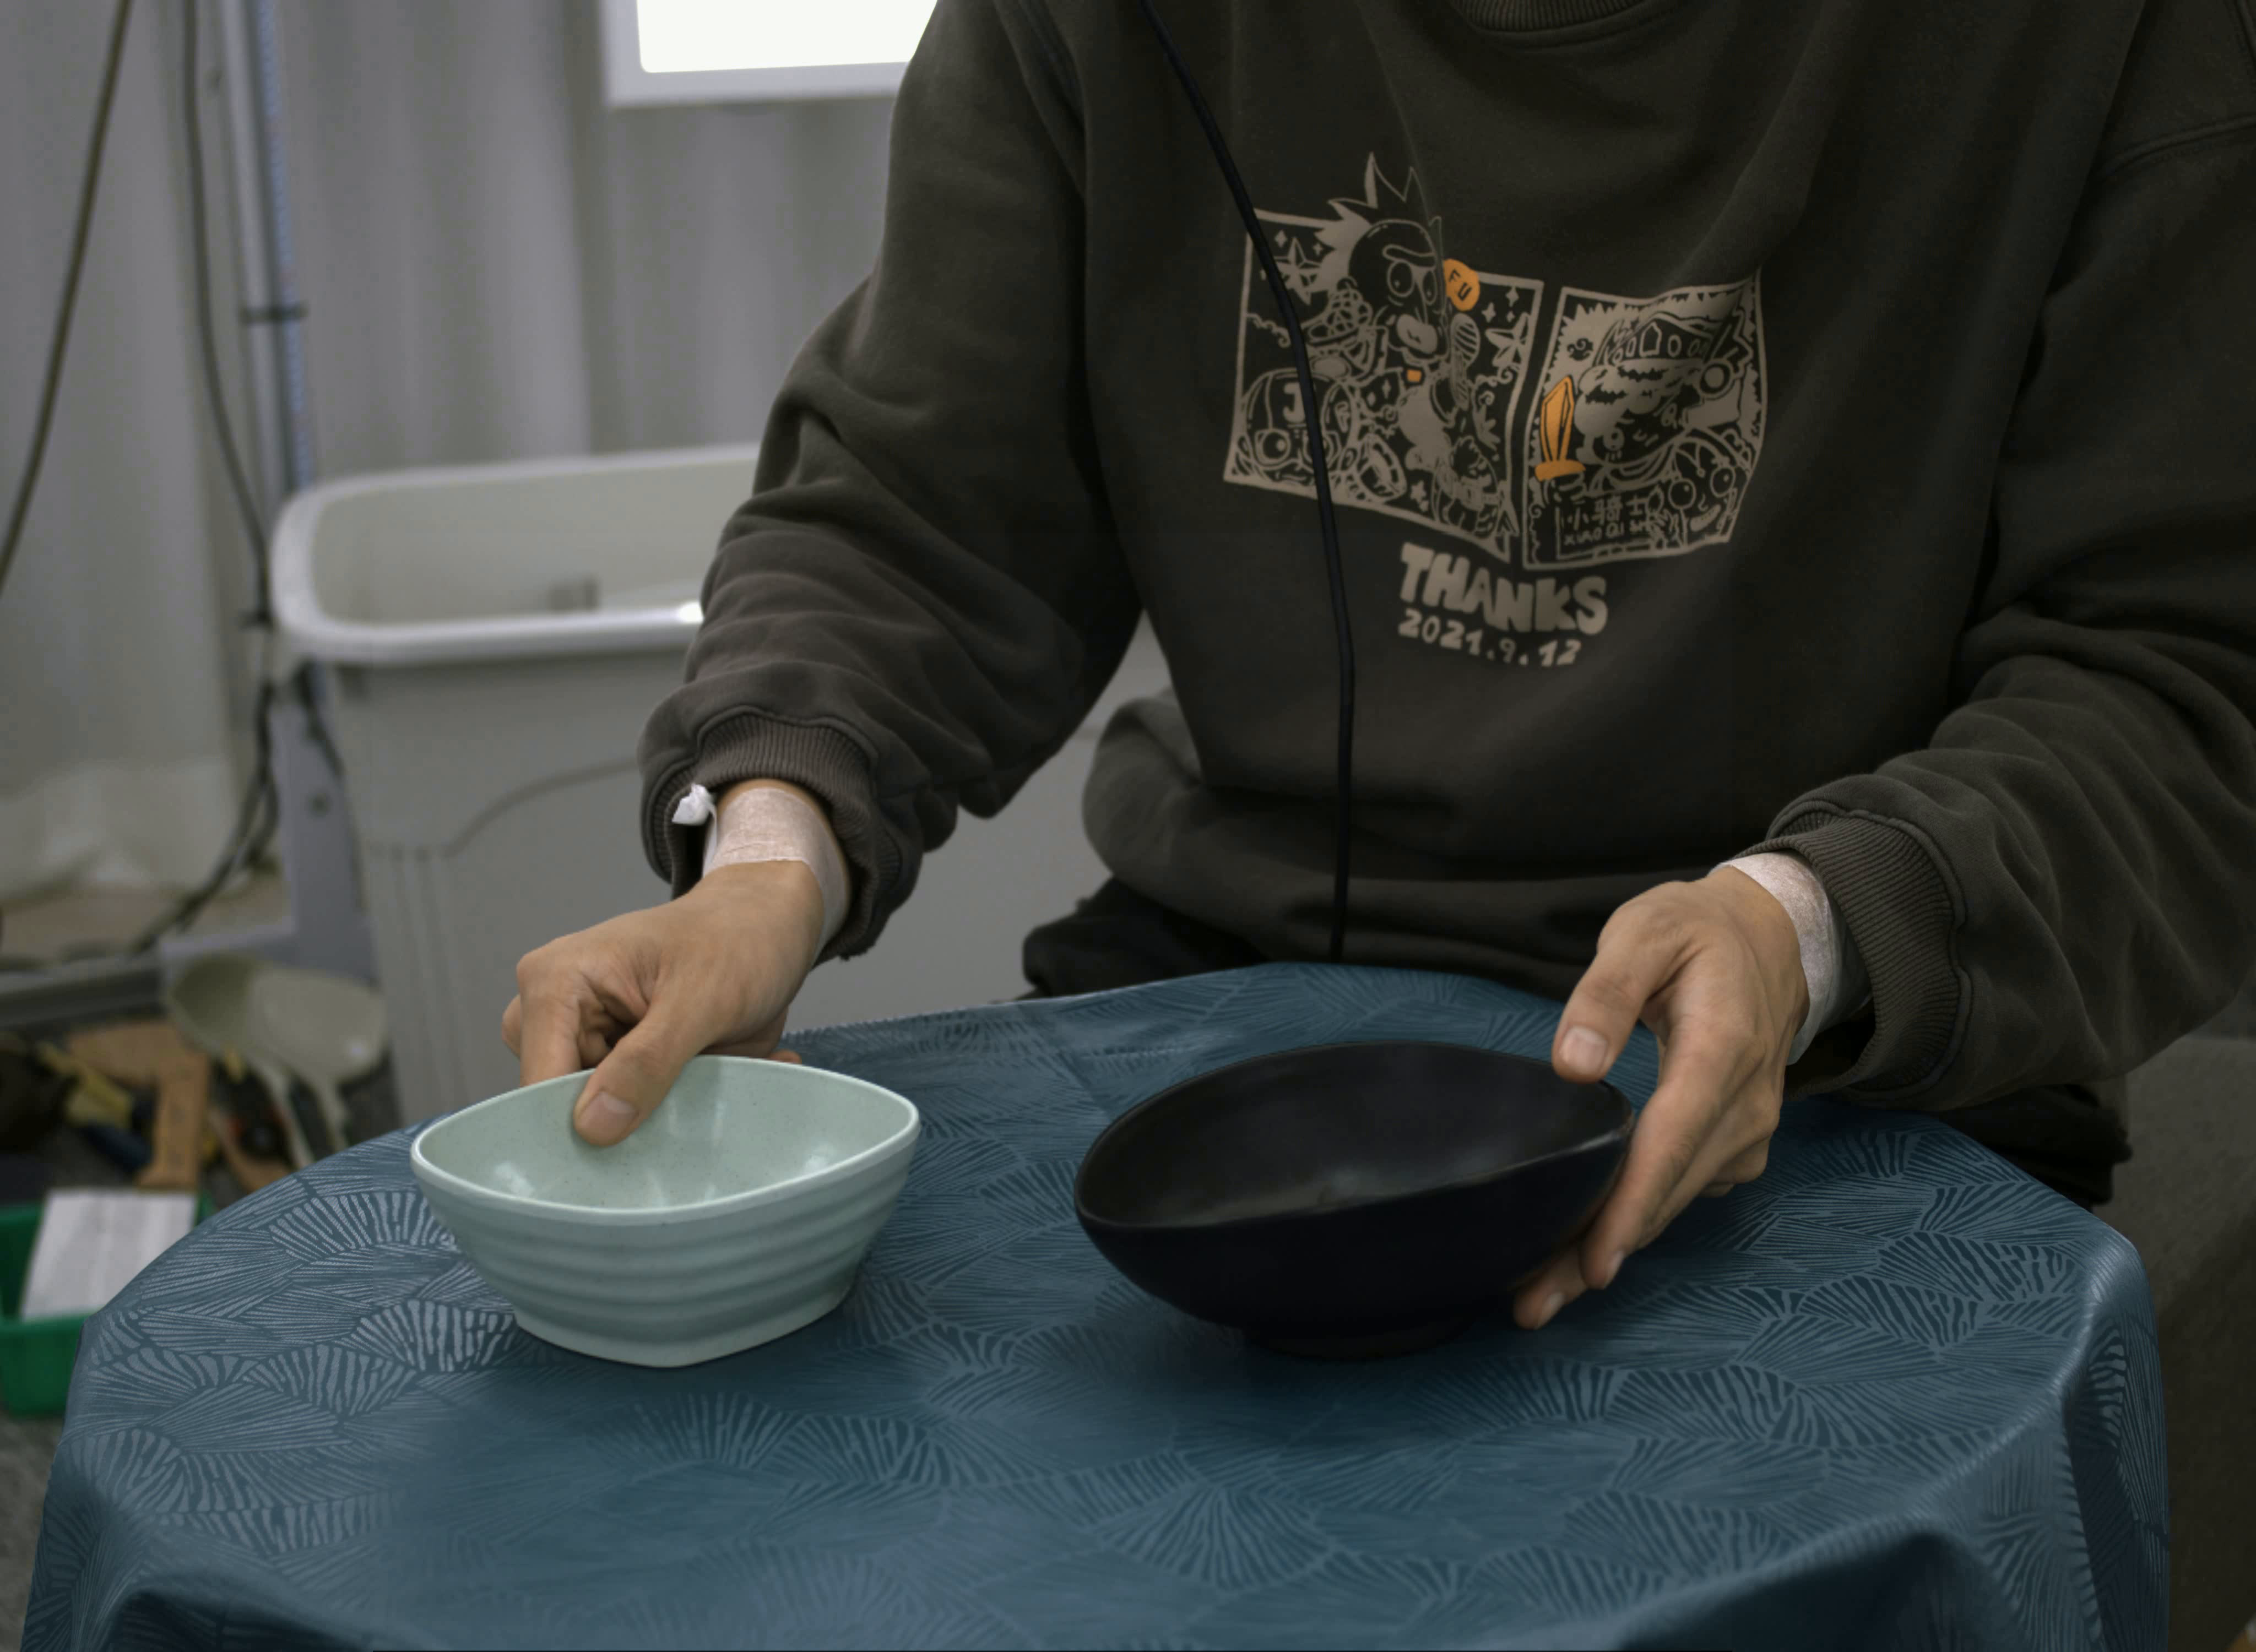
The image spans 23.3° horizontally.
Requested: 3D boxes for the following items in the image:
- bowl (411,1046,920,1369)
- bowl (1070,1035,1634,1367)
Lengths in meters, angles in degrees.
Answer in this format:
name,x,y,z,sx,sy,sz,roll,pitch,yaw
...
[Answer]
name,x,y,z,sx,sy,sz,roll,pitch,yaw
bowl,-0.136,0.117,1.628,0.151,0.058,0.152,-2,16,0
bowl,0.068,0.115,1.587,0.169,0.066,0.138,-12,17,-24
